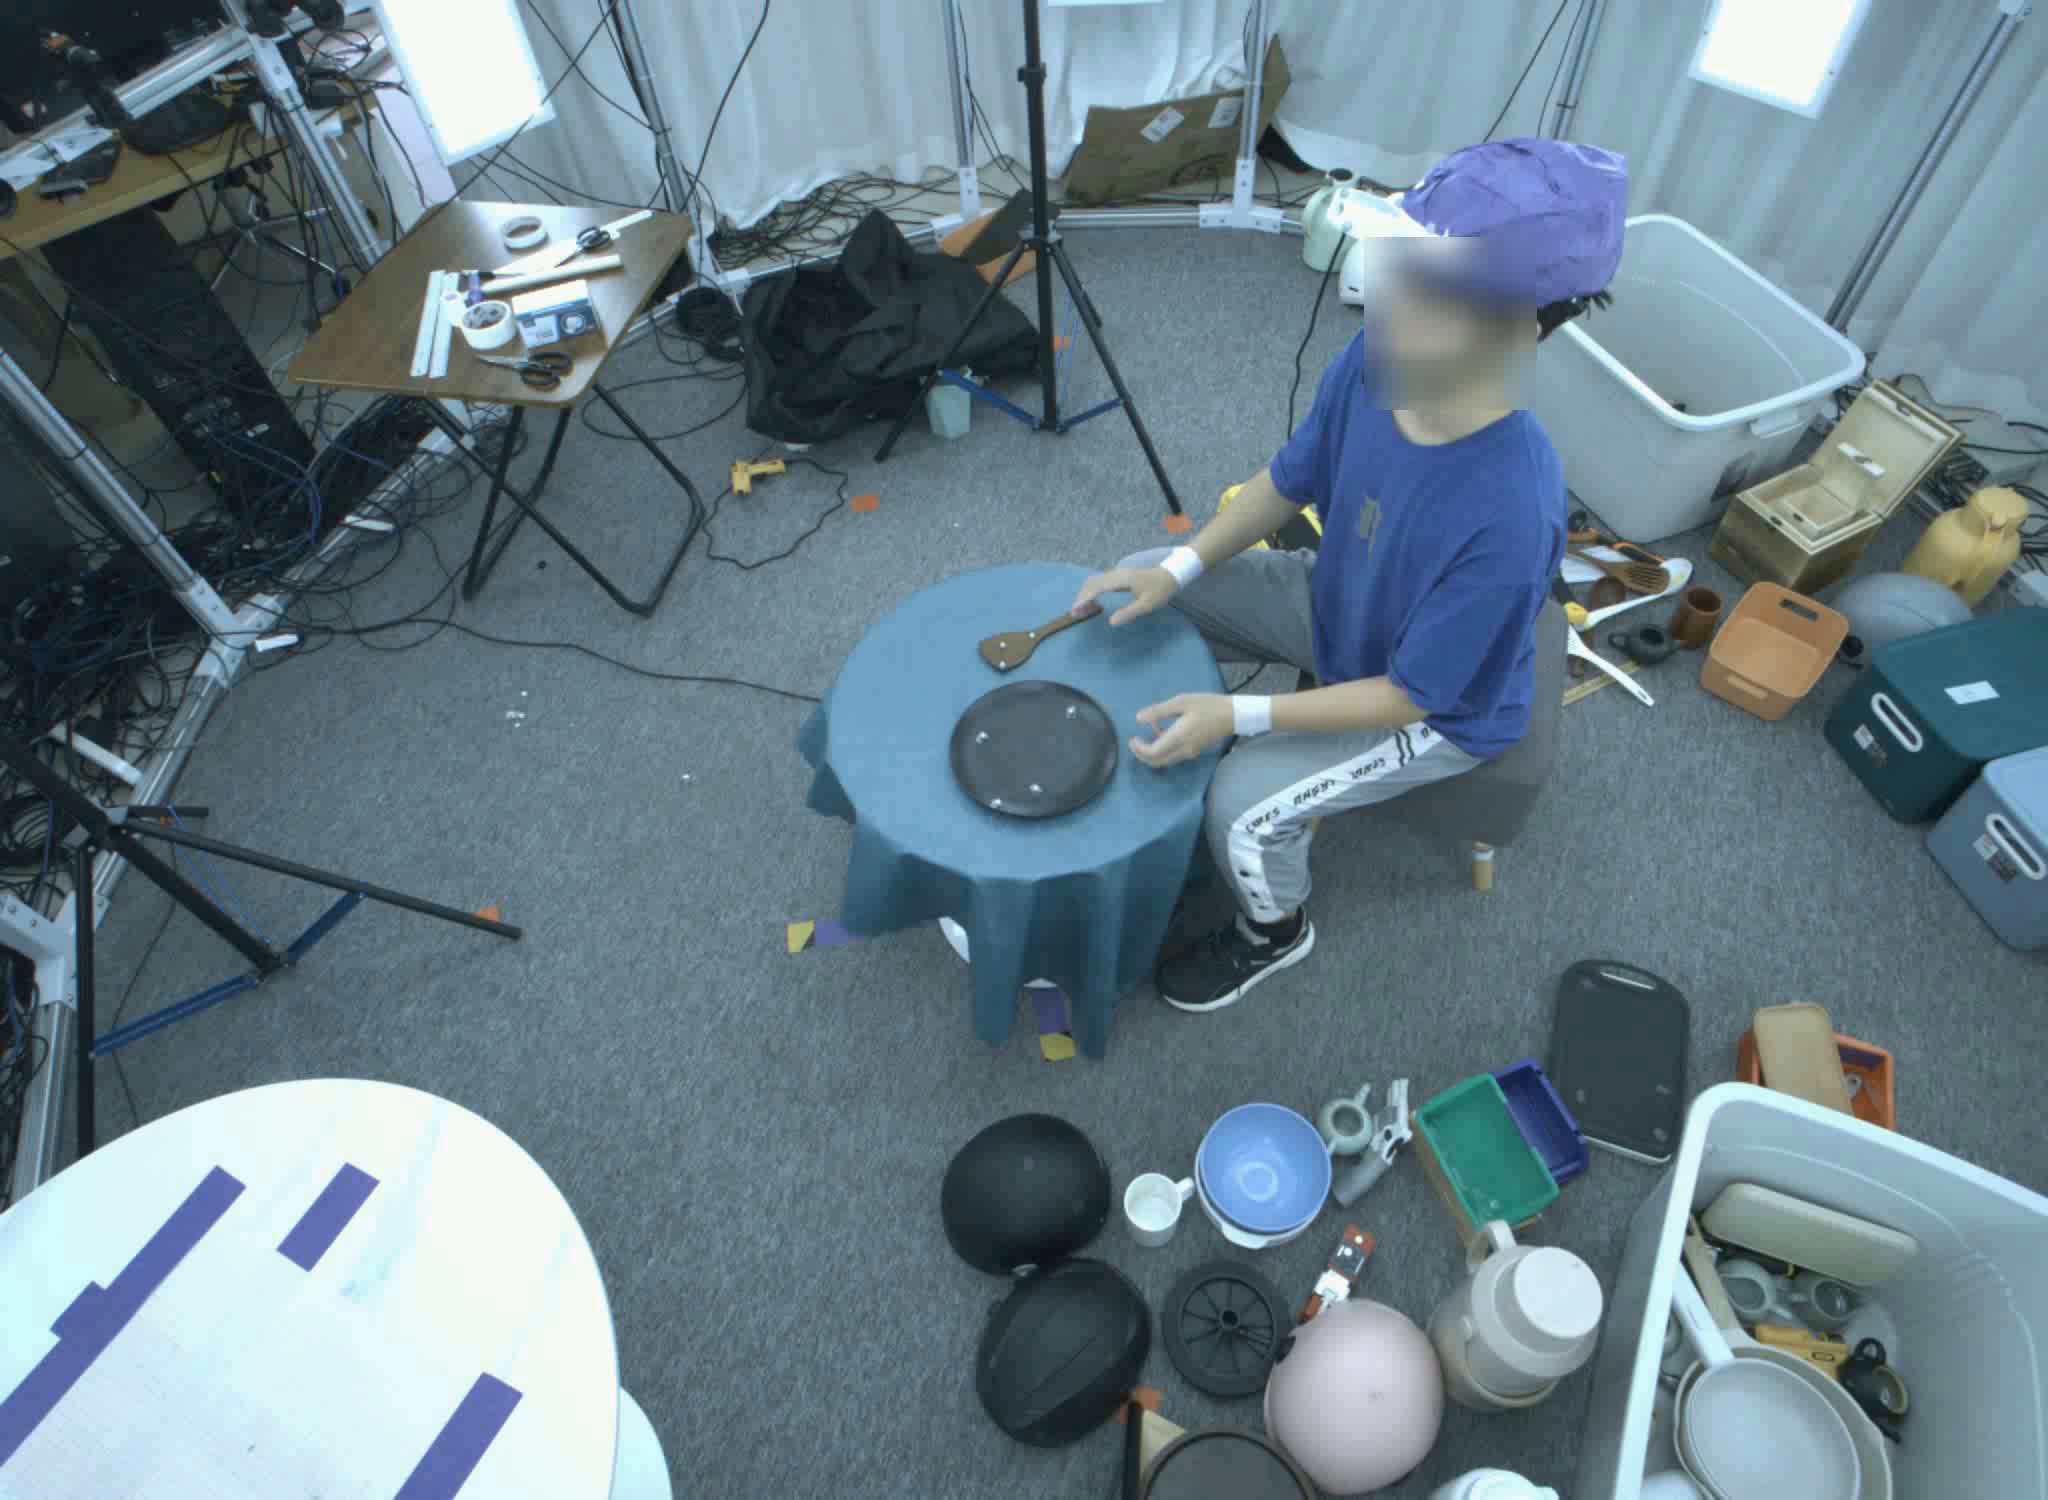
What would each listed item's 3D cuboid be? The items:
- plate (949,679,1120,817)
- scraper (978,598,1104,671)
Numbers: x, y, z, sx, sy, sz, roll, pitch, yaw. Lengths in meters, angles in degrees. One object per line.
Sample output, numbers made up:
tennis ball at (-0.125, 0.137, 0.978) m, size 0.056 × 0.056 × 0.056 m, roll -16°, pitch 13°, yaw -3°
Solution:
plate at (0.015, -0.001, 1.764) m, size 0.244 × 0.024 × 0.242 m, roll -1°, pitch 54°, yaw 2°
scraper at (0.032, -0.186, 1.904) m, size 0.213 × 0.011 × 0.074 m, roll -28°, pitch 58°, yaw -18°
